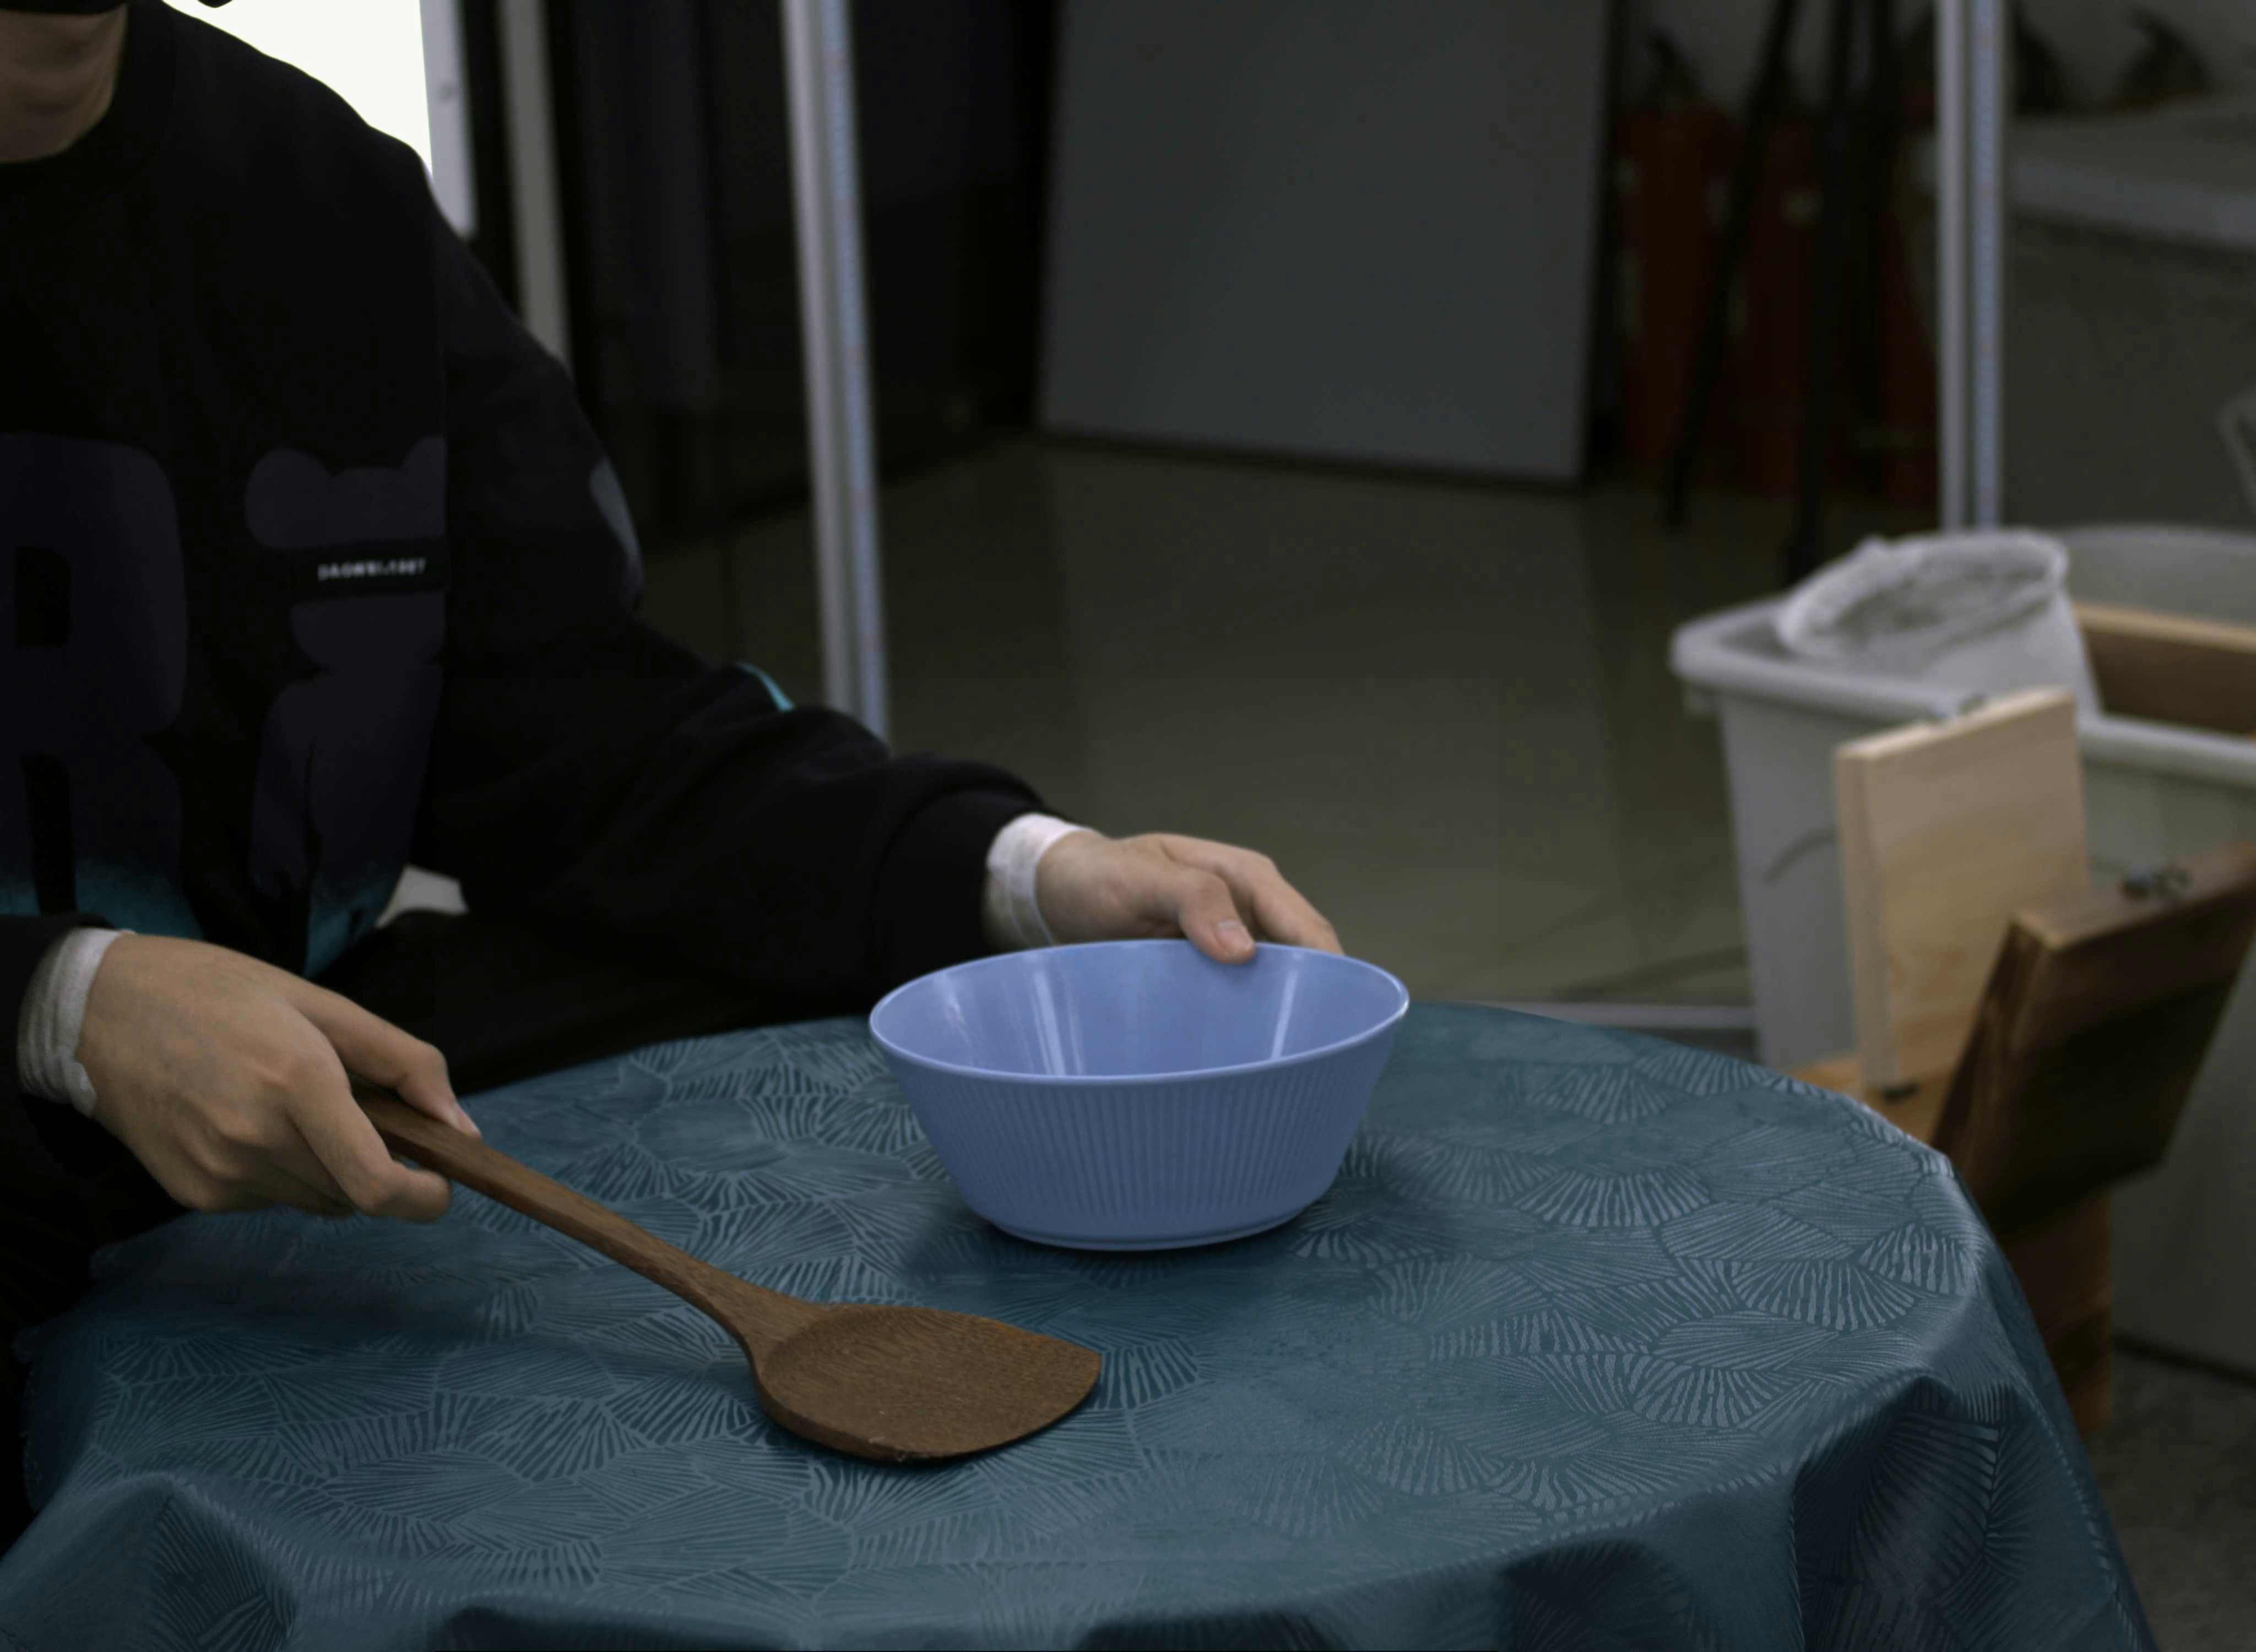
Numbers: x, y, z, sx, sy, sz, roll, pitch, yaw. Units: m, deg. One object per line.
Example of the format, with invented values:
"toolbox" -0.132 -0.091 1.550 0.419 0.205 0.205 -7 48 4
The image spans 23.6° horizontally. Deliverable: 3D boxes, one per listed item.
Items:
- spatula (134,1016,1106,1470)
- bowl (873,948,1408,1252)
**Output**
"spatula" -0.173 0.121 1.665 0.389 0.016 0.094 21 27 35
"bowl" 0.006 0.090 1.743 0.174 0.071 0.176 -4 11 0
